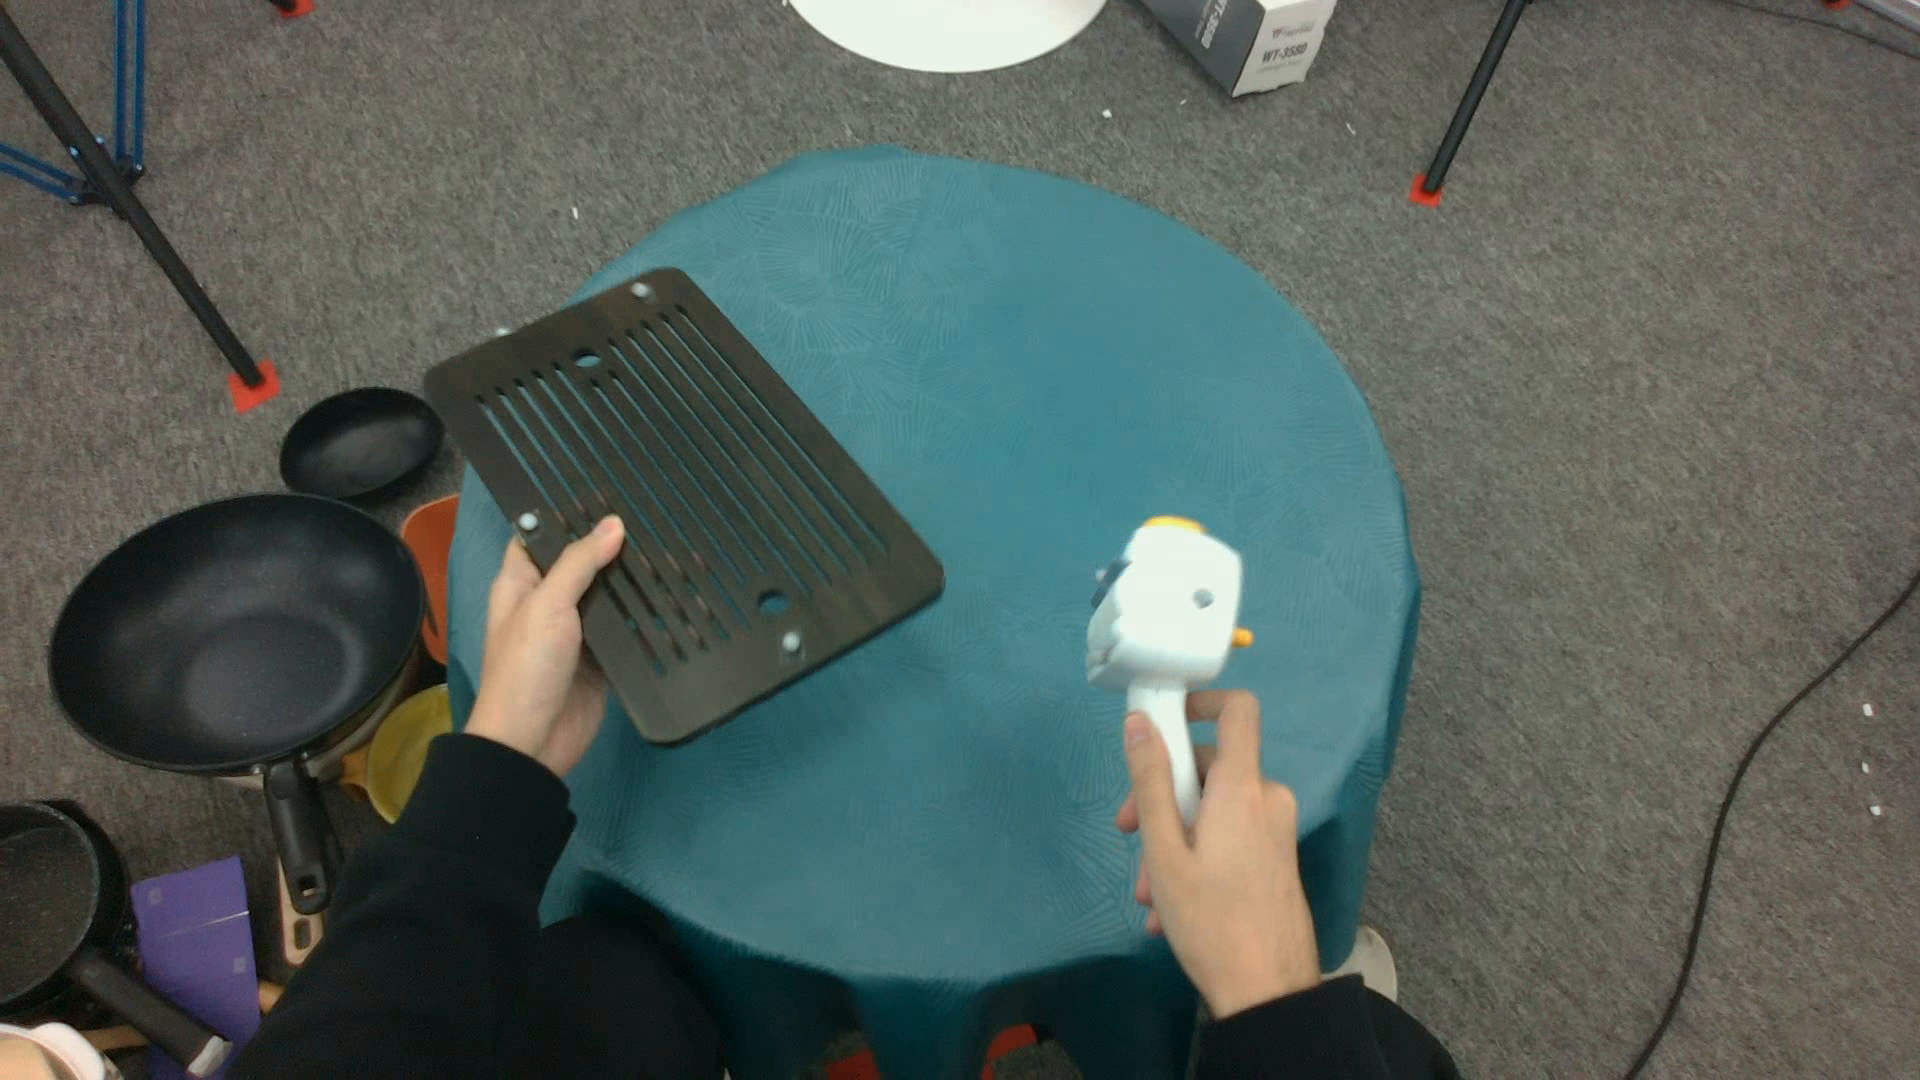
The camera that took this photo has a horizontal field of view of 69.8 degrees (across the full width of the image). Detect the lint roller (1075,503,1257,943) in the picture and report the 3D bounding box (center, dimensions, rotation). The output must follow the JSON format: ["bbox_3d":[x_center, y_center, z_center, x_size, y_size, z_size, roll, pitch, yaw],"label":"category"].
[{"bbox_3d":[0.092,0.087,0.638,0.074,0.192,0.192,5,83,-6],"label":"lint roller"}]

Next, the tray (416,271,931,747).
[{"bbox_3d":[-0.163,-0.032,0.749,0.170,0.018,0.306,-27,56,-21],"label":"tray"}]
